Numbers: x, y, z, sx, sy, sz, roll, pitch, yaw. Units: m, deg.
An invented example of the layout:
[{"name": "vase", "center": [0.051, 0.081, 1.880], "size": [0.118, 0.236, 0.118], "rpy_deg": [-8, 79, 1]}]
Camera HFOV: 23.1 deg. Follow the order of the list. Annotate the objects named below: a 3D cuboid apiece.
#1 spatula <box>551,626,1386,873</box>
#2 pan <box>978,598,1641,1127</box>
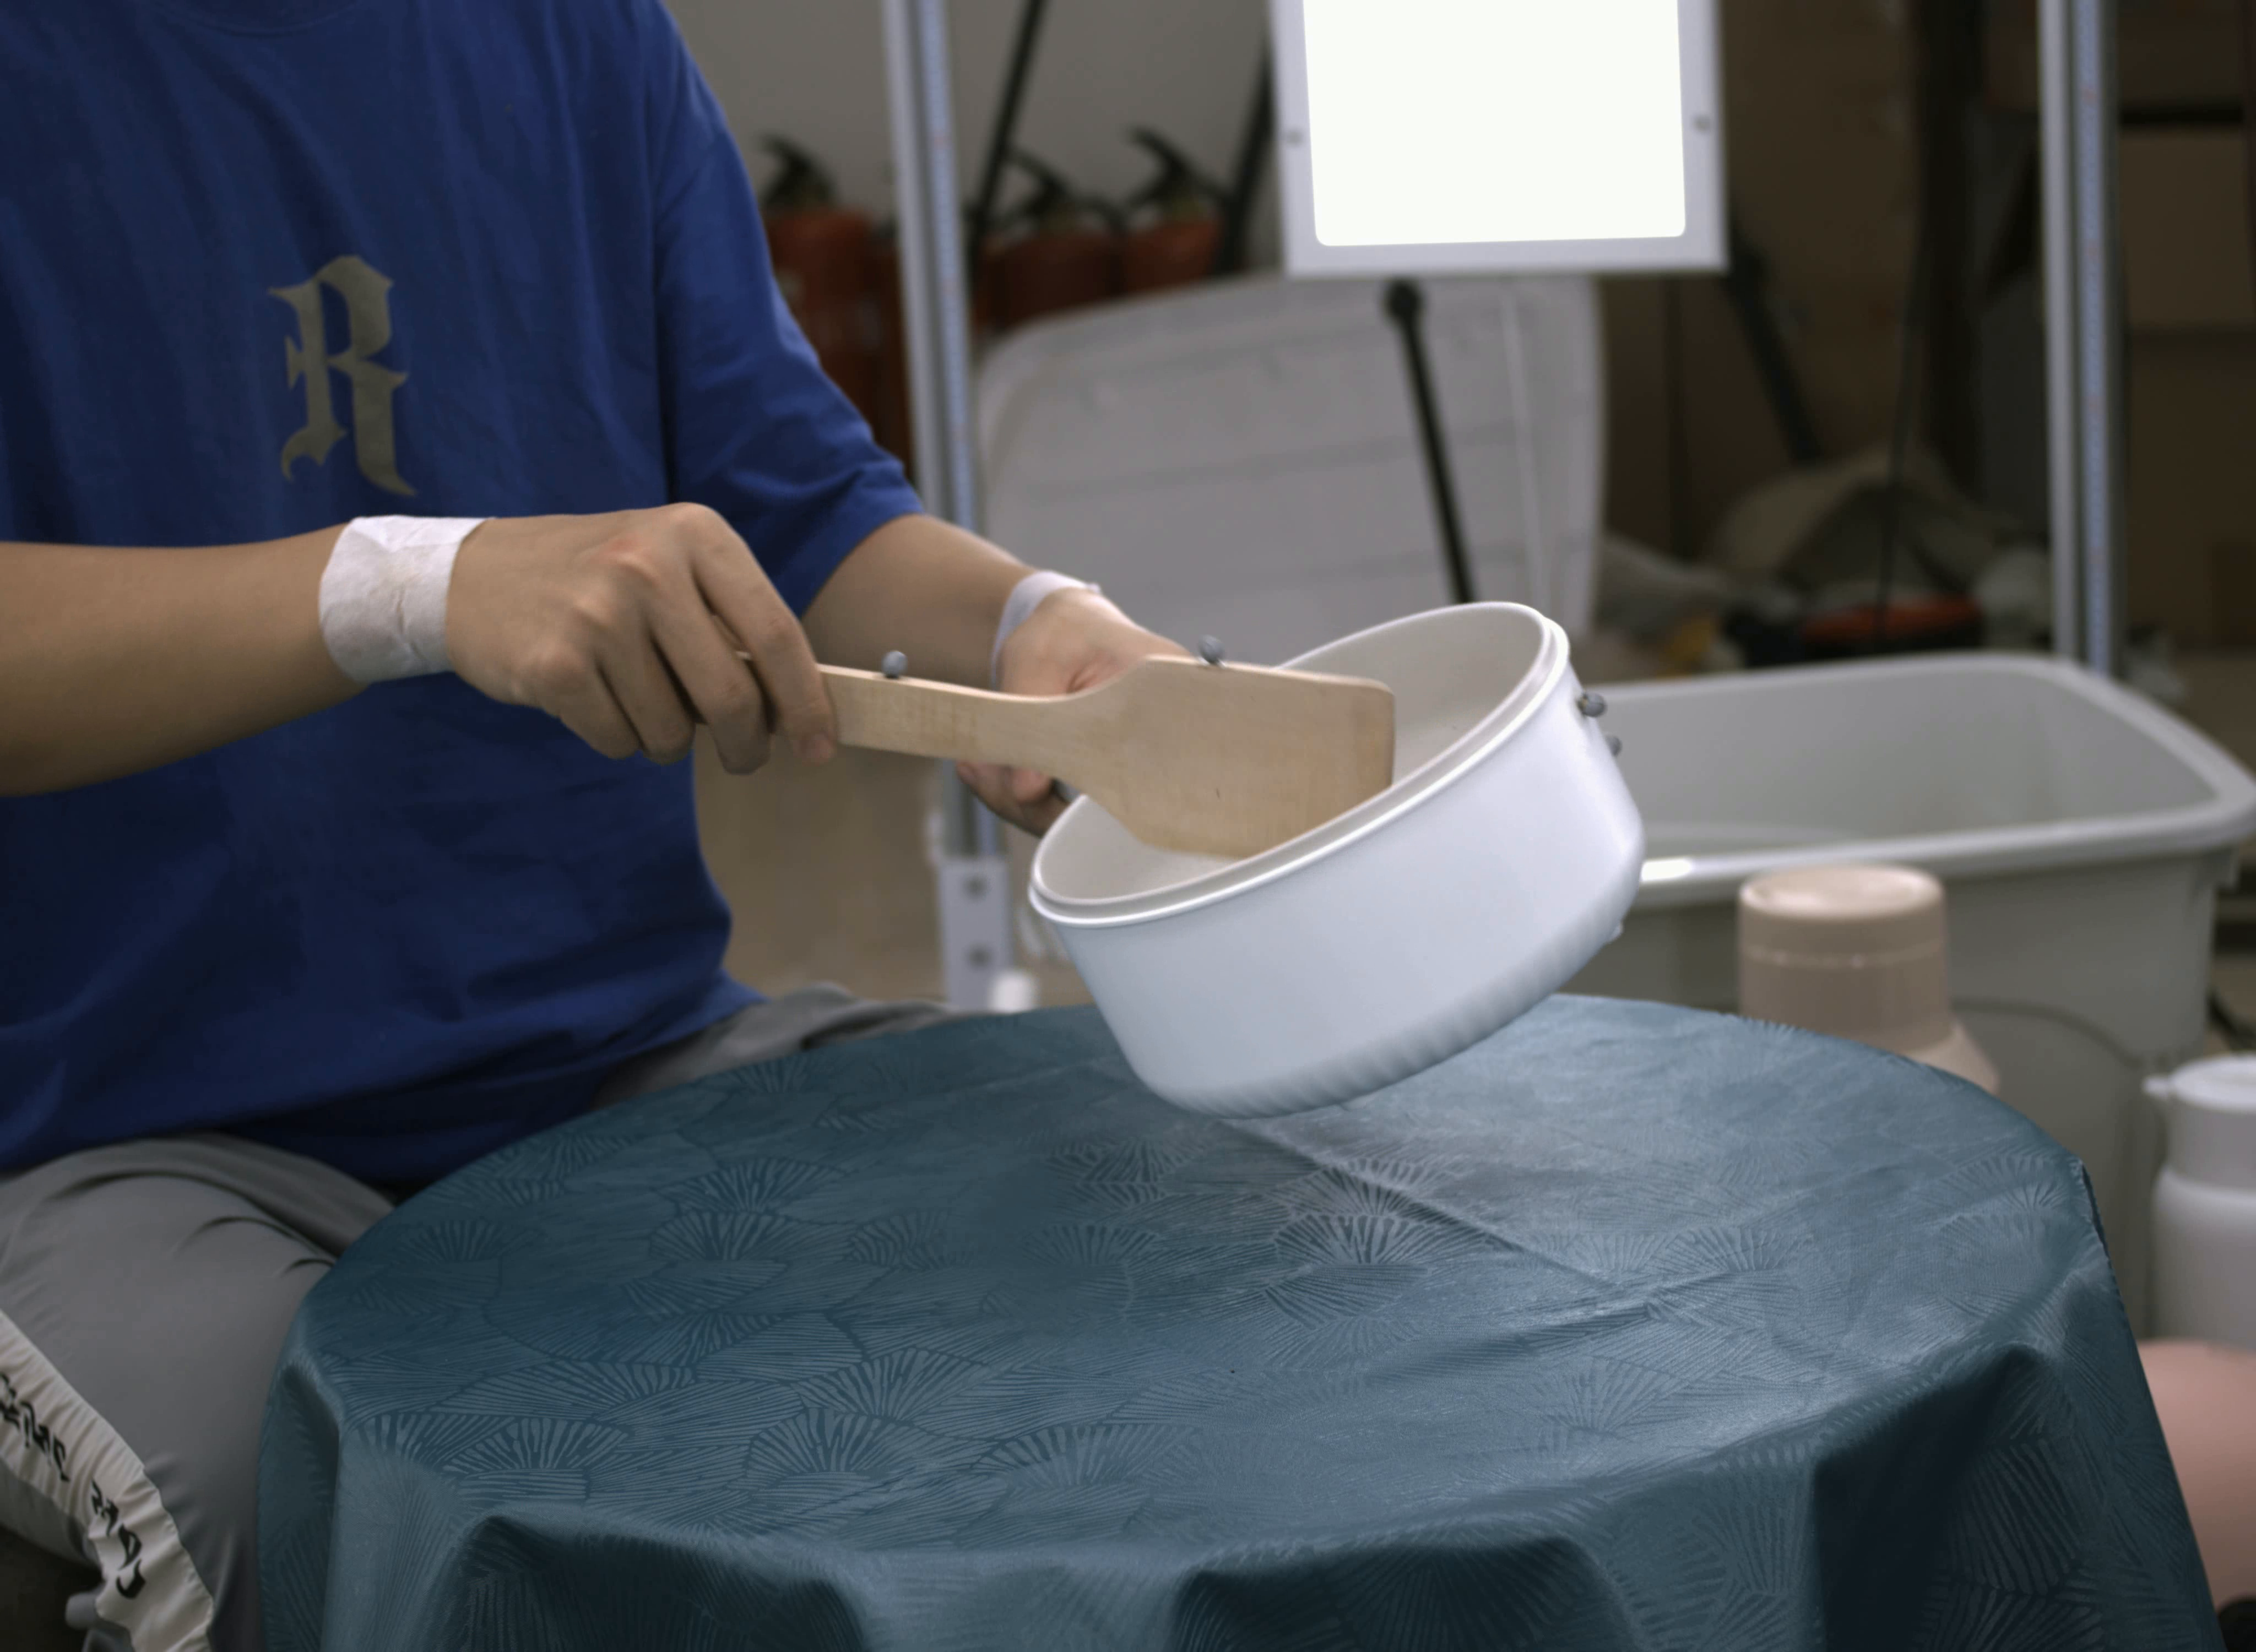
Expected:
[{"name": "spatula", "center": [-0.057, -0.034, 1.841], "size": [0.296, 0.073, 0.010], "rpy_deg": [10, 22, 16]}, {"name": "pan", "center": [0.044, 0.010, 1.934], "size": [0.199, 0.102, 0.360], "rpy_deg": [-36, 18, -16]}]
